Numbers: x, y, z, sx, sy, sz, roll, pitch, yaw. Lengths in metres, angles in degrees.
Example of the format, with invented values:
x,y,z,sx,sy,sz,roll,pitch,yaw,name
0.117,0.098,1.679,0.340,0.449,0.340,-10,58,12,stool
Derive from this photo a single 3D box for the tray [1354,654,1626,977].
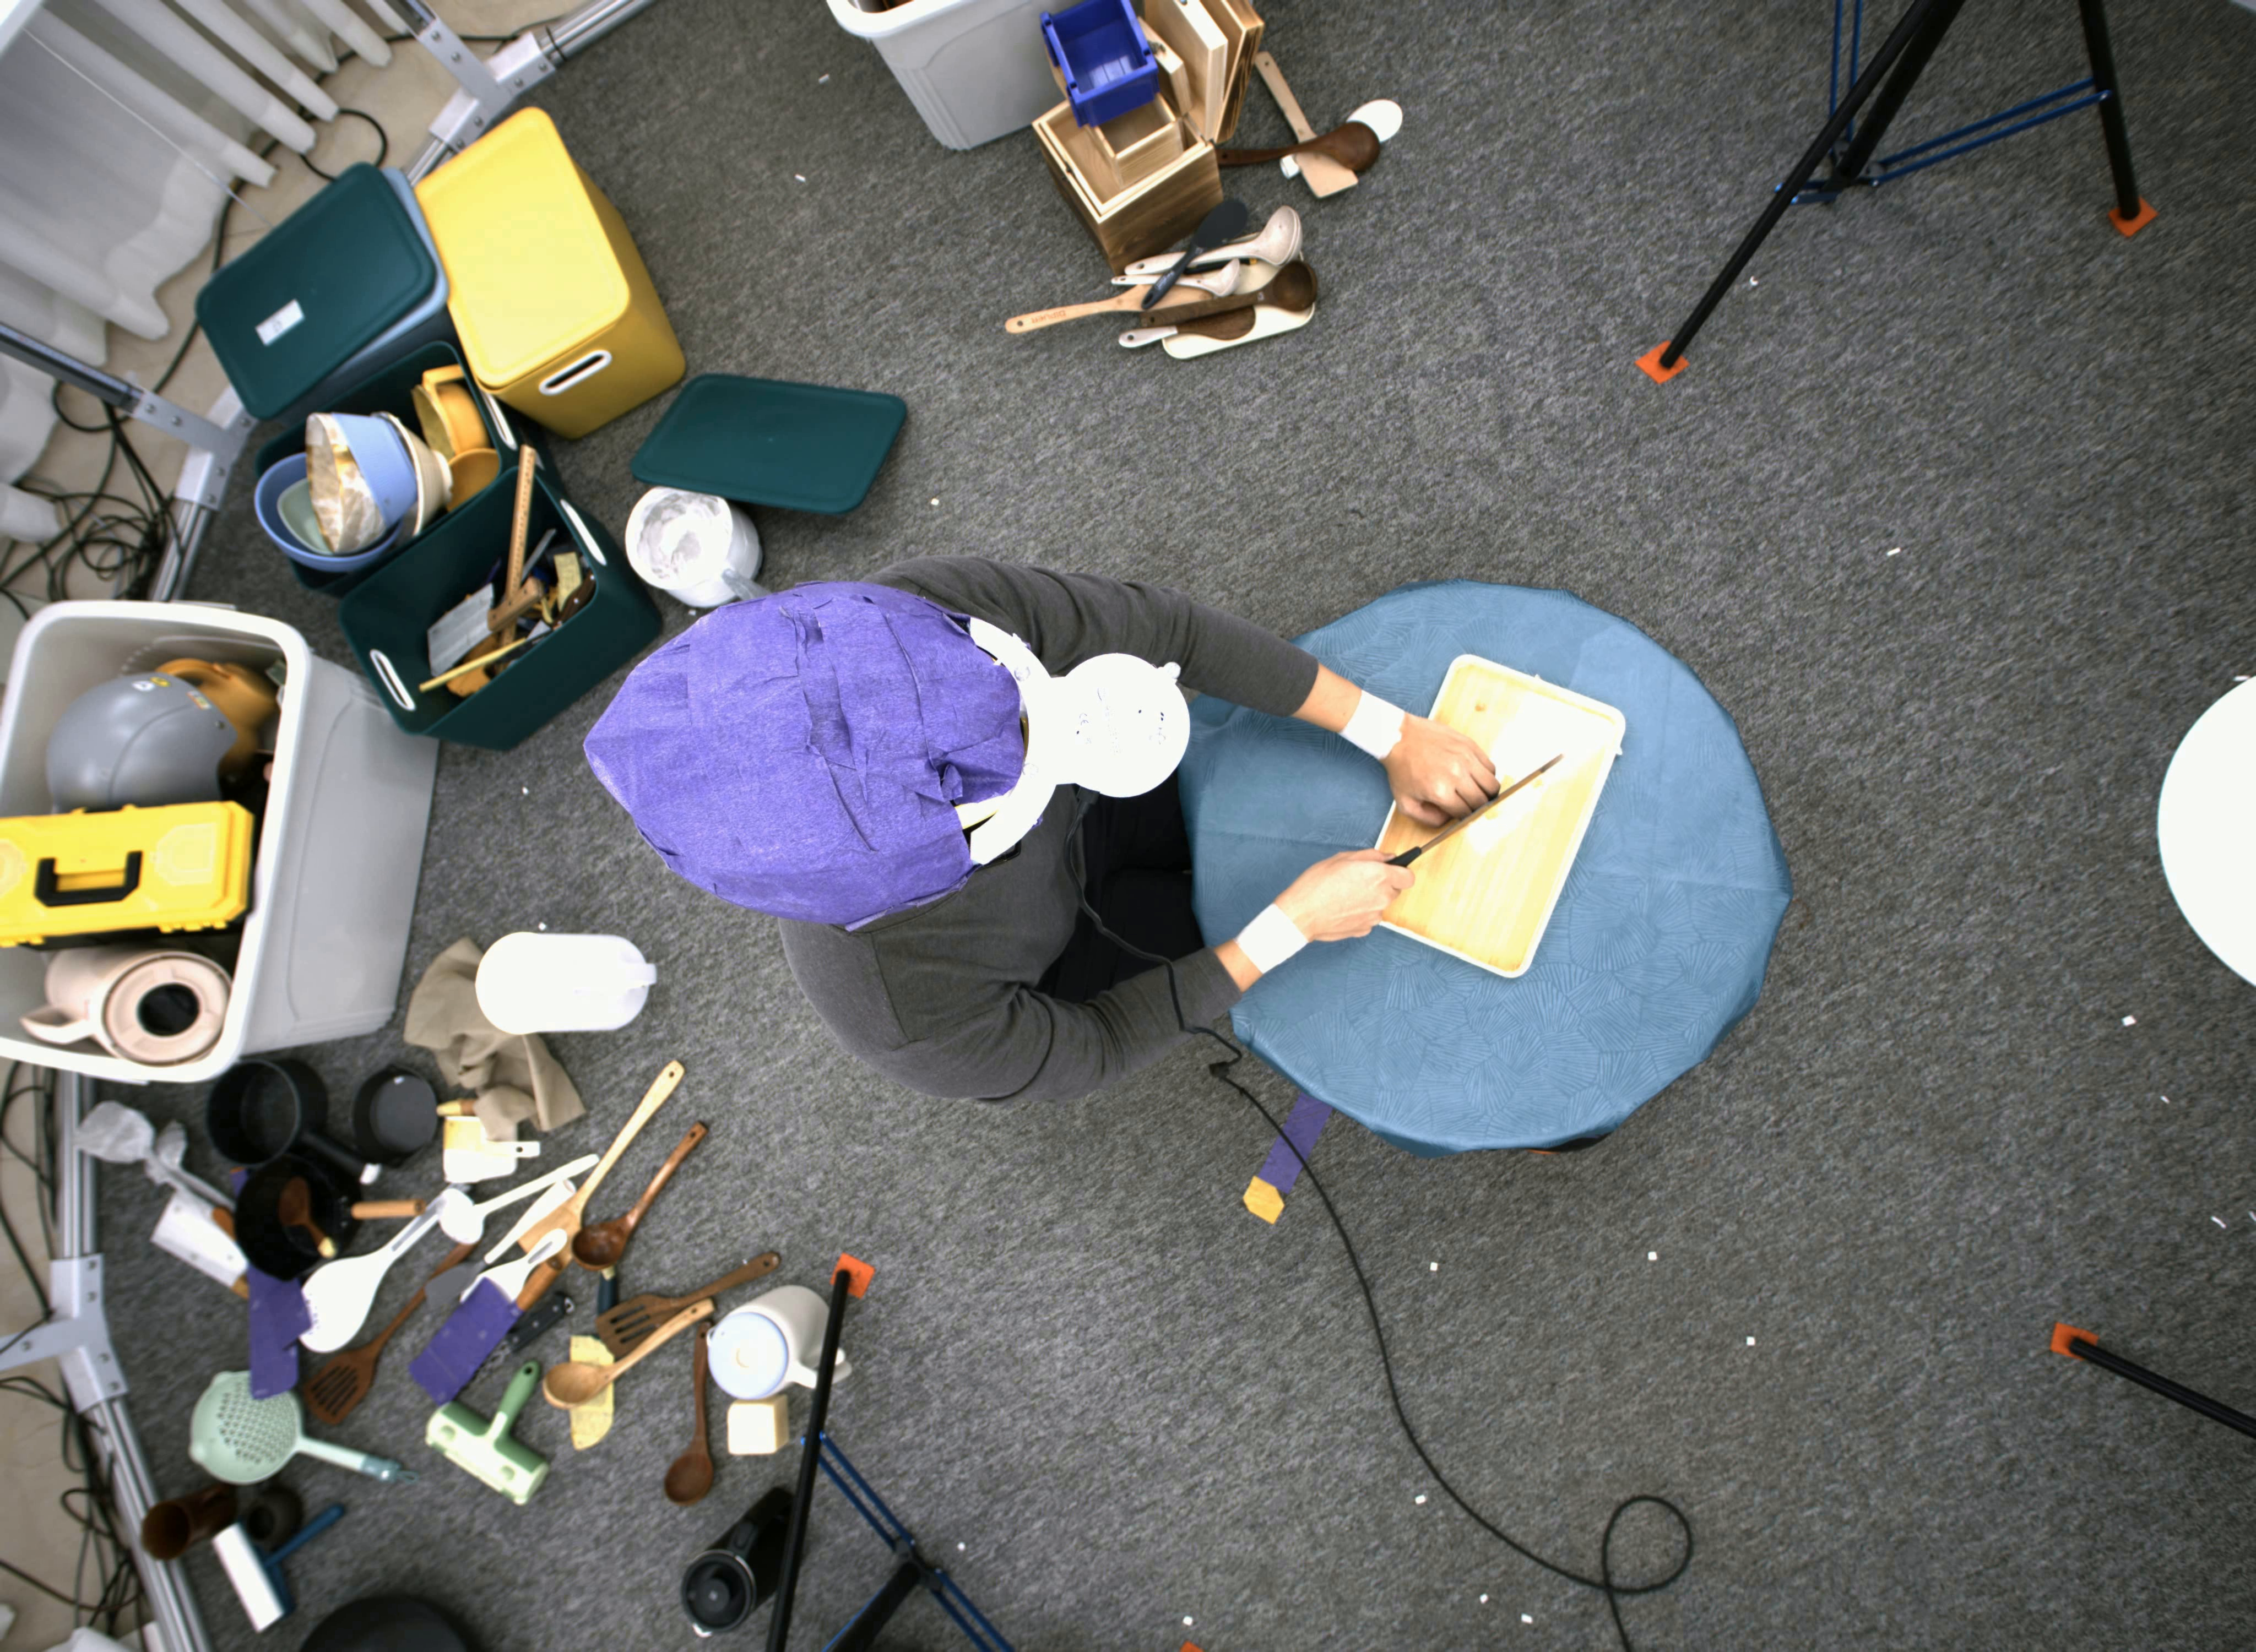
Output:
x,y,z,sx,sy,sz,roll,pitch,yaw,name
0.375,-0.014,1.431,0.191,0.027,0.300,23,91,11,tray

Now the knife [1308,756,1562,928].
x,y,z,sx,sy,sz,roll,pitch,yaw,name
0.312,0.014,1.399,0.303,0.081,0.020,-33,76,2,knife
